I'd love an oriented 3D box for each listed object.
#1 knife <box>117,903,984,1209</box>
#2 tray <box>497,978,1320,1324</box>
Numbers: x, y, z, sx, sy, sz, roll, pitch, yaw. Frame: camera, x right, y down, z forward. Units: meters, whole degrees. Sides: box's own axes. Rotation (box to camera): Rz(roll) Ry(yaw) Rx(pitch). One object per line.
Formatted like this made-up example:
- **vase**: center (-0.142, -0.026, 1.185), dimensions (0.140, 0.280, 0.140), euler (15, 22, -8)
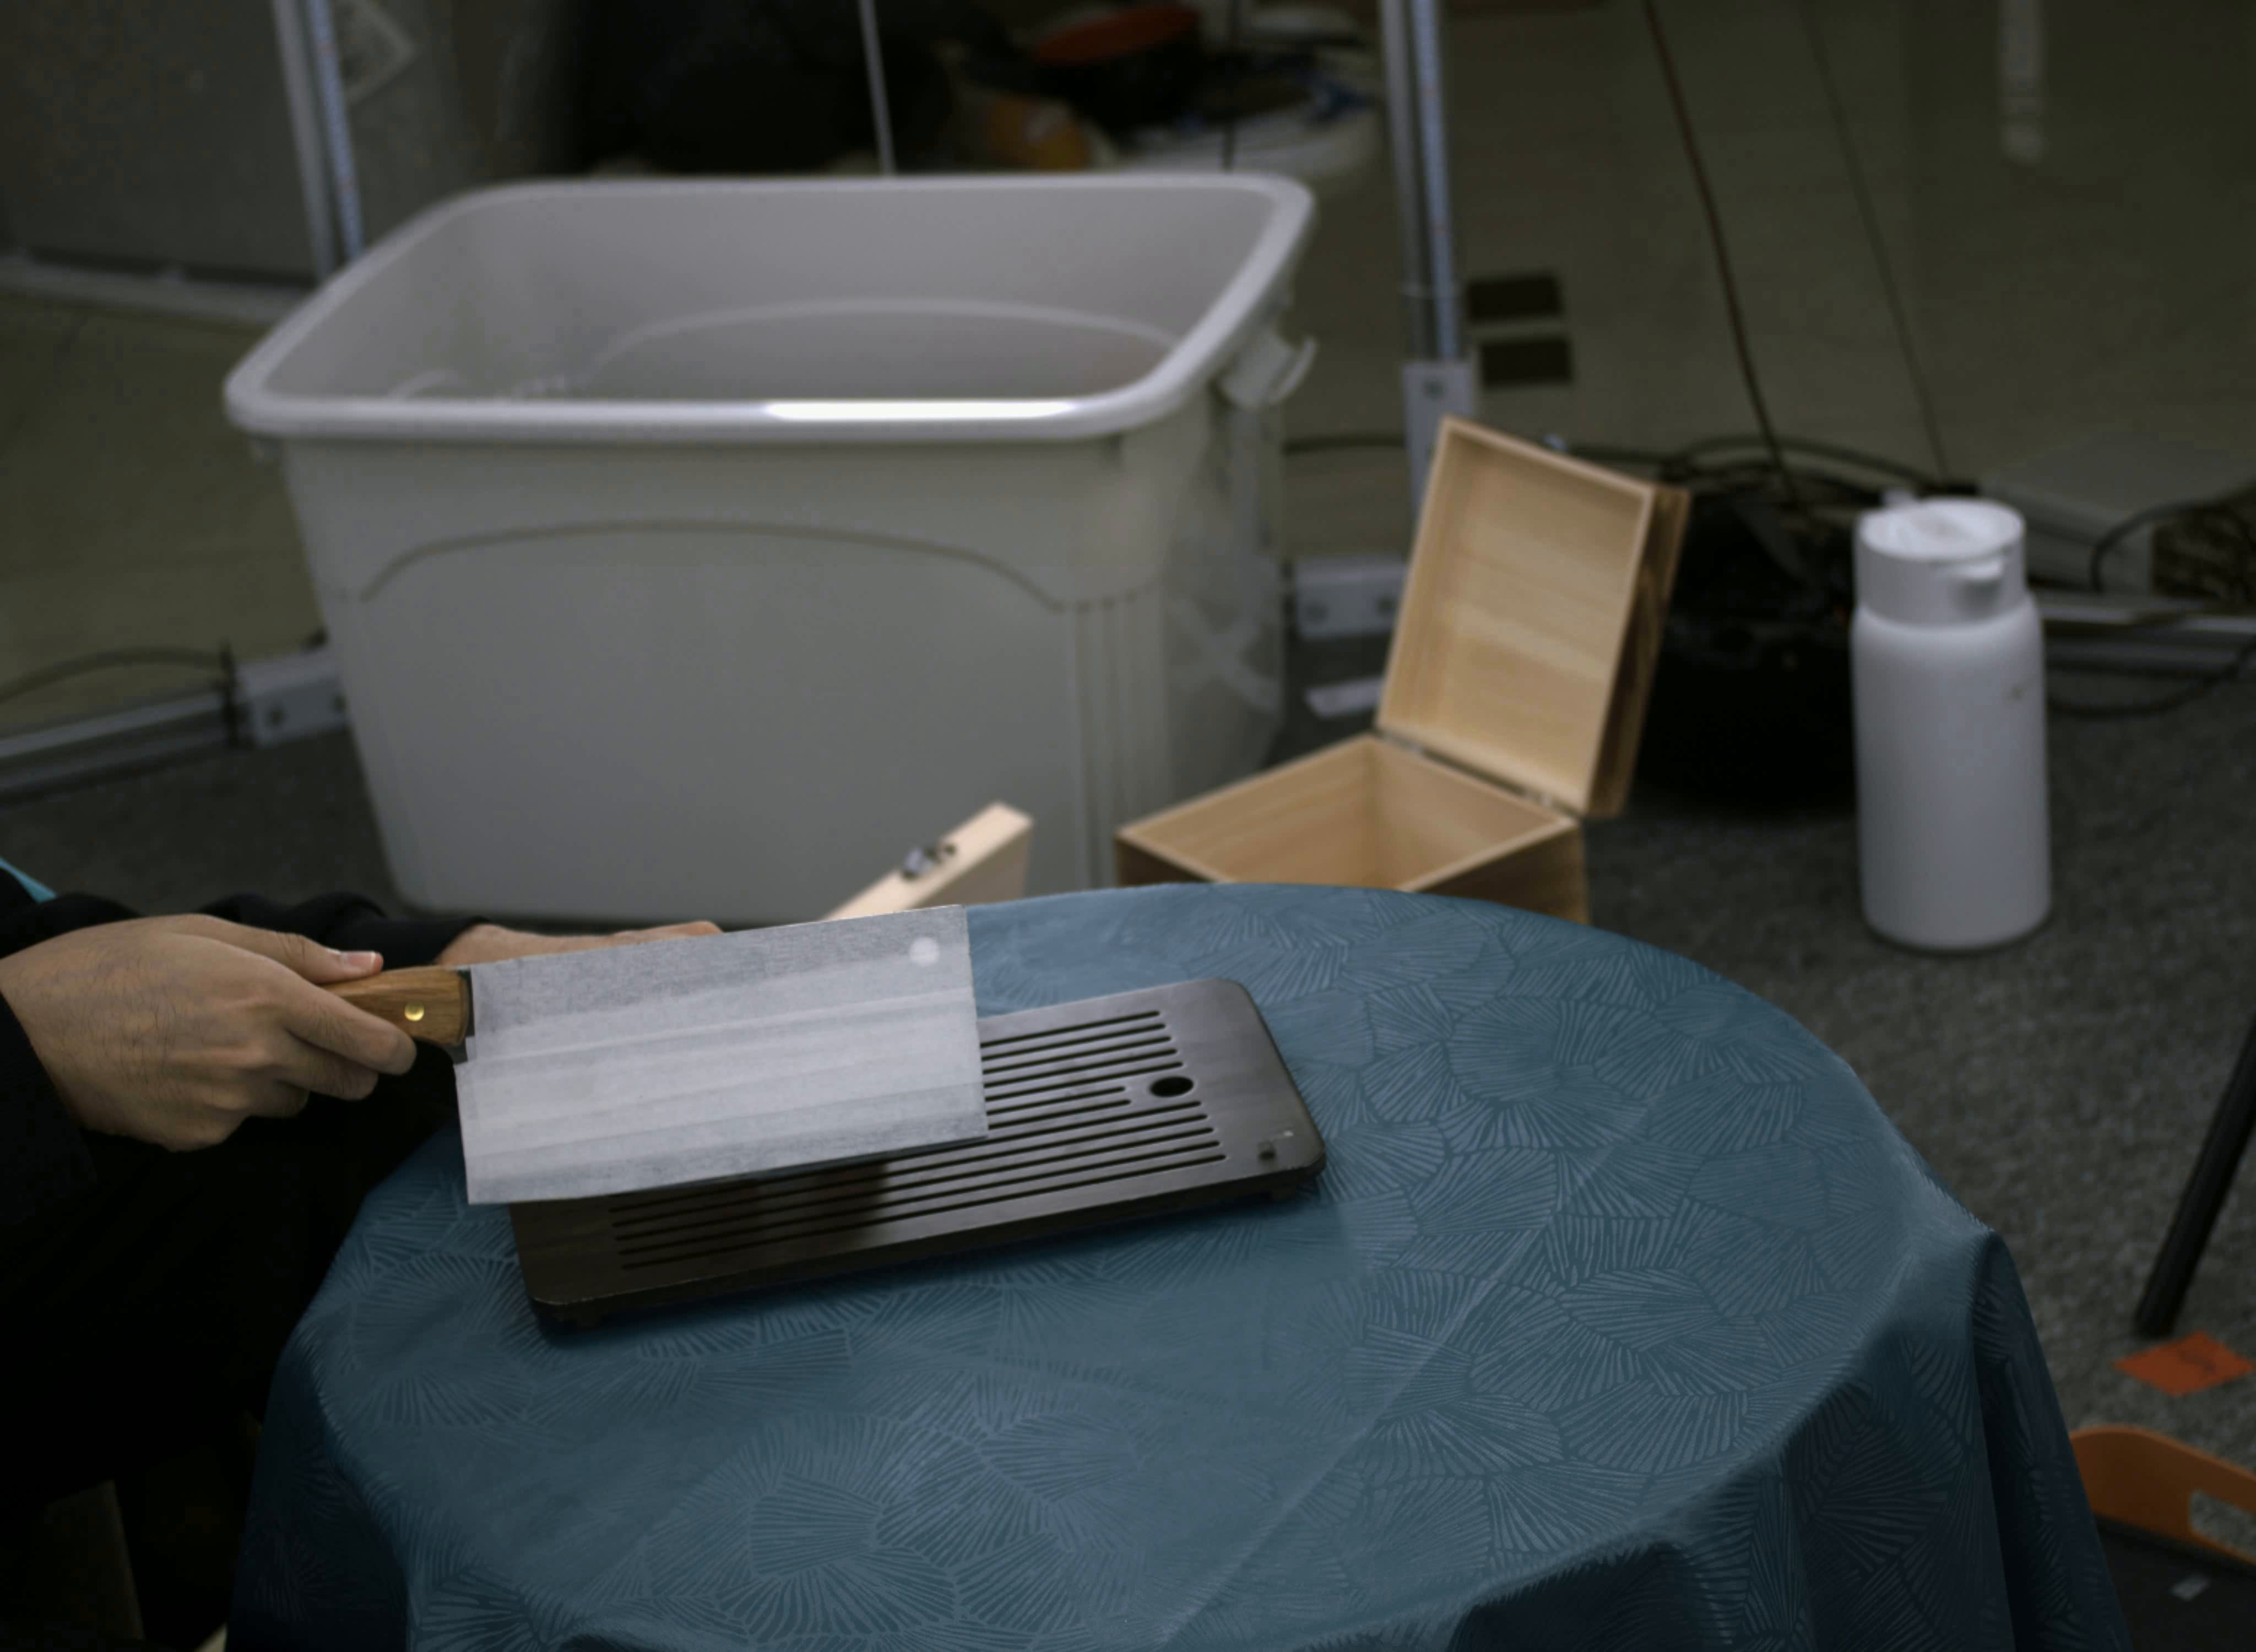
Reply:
- **knife**: center (-0.204, 0.089, 2.029), dimensions (0.305, 0.094, 0.021), euler (-7, 15, -6)
- **tray**: center (-0.089, 0.124, 2.178), dimensions (0.305, 0.019, 0.167), euler (-10, 25, -7)
